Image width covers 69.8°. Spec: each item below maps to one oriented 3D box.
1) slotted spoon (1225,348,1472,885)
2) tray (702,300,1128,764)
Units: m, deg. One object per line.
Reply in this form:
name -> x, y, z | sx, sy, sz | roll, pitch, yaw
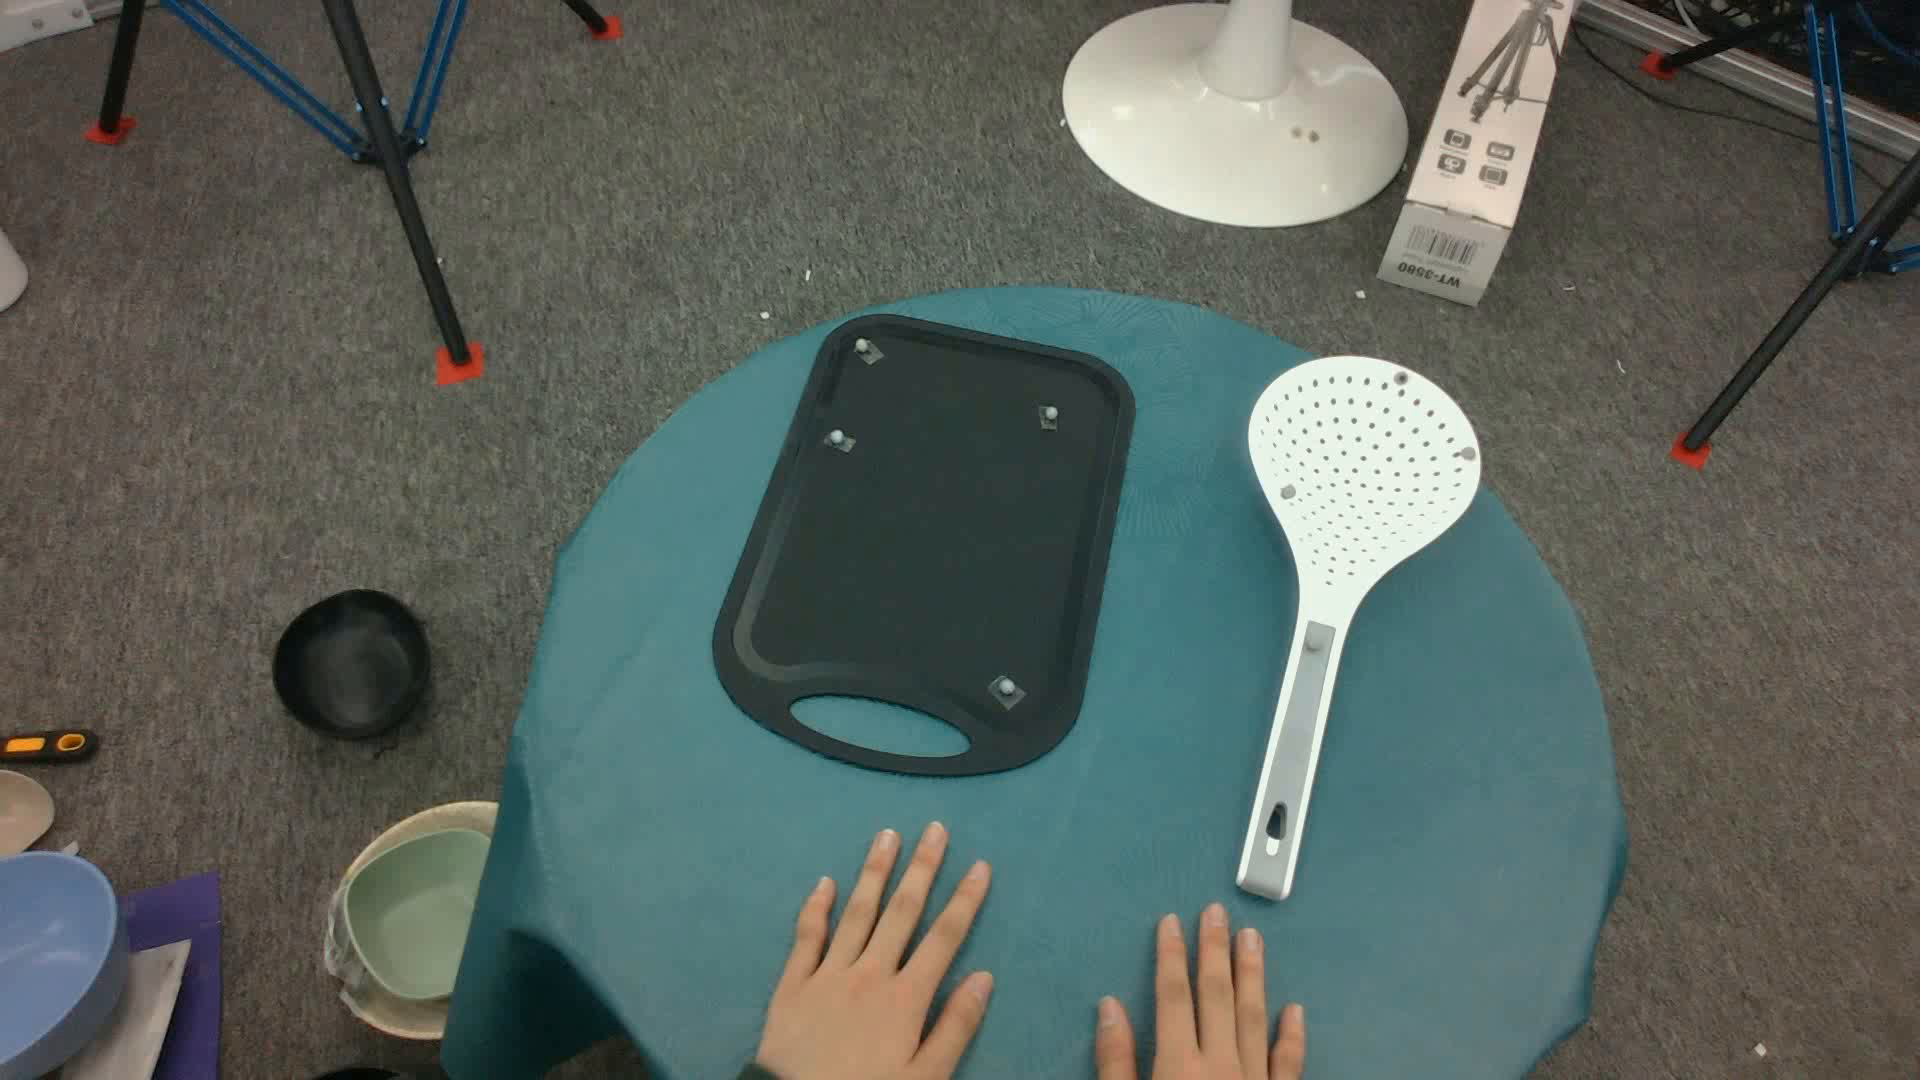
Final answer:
slotted spoon -> 0.204, 0.029, 0.781 | 0.136, 0.045, 0.351 | 17, 56, 9
tray -> -0.019, -0.017, 0.816 | 0.211, 0.010, 0.327 | 12, 55, 4
